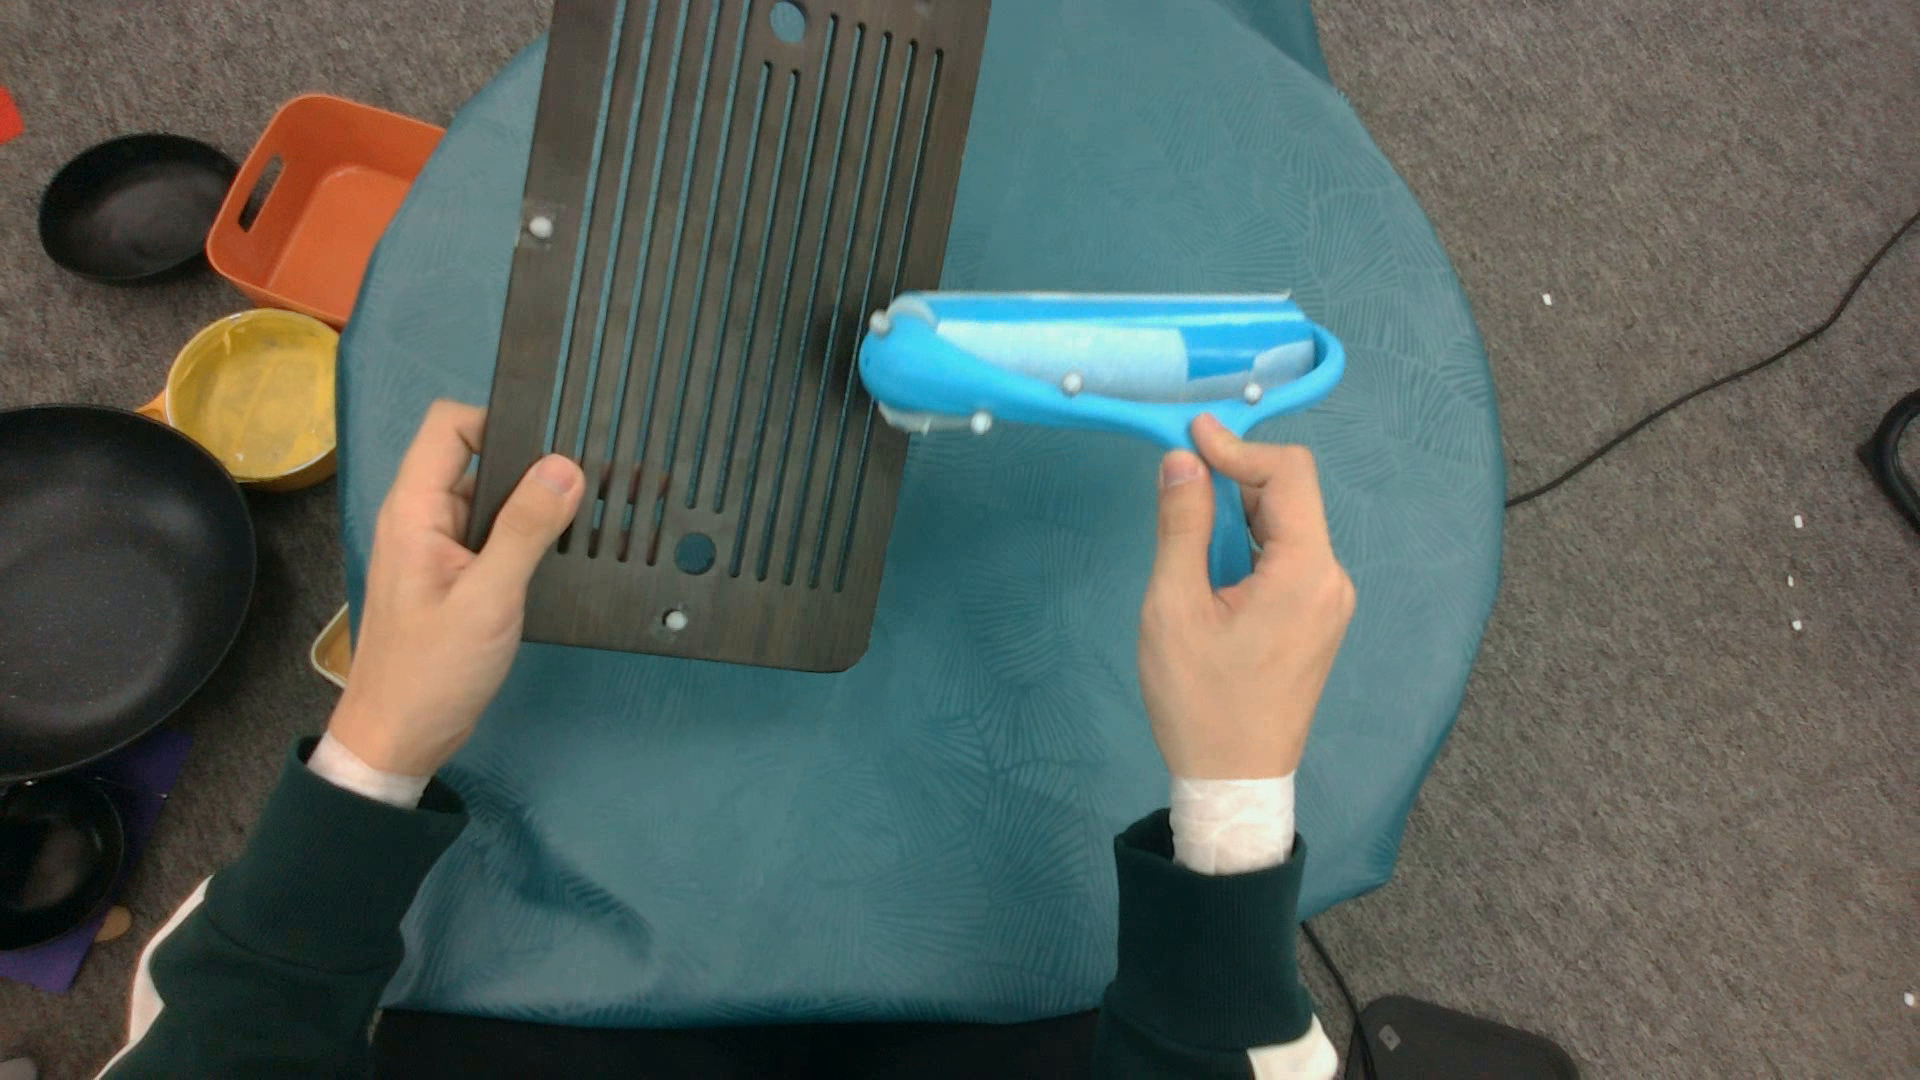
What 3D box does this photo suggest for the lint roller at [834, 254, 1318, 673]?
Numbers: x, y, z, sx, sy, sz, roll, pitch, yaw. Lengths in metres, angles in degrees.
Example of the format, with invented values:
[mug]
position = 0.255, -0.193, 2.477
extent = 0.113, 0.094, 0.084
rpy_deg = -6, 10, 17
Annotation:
[lint roller]
position = 0.075, -0.041, 0.552
extent = 0.229, 0.067, 0.180
rpy_deg = -10, 65, -35

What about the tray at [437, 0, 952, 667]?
[tray]
position = -0.104, -0.103, 0.556
extent = 0.170, 0.018, 0.305
rpy_deg = 7, 95, -27
